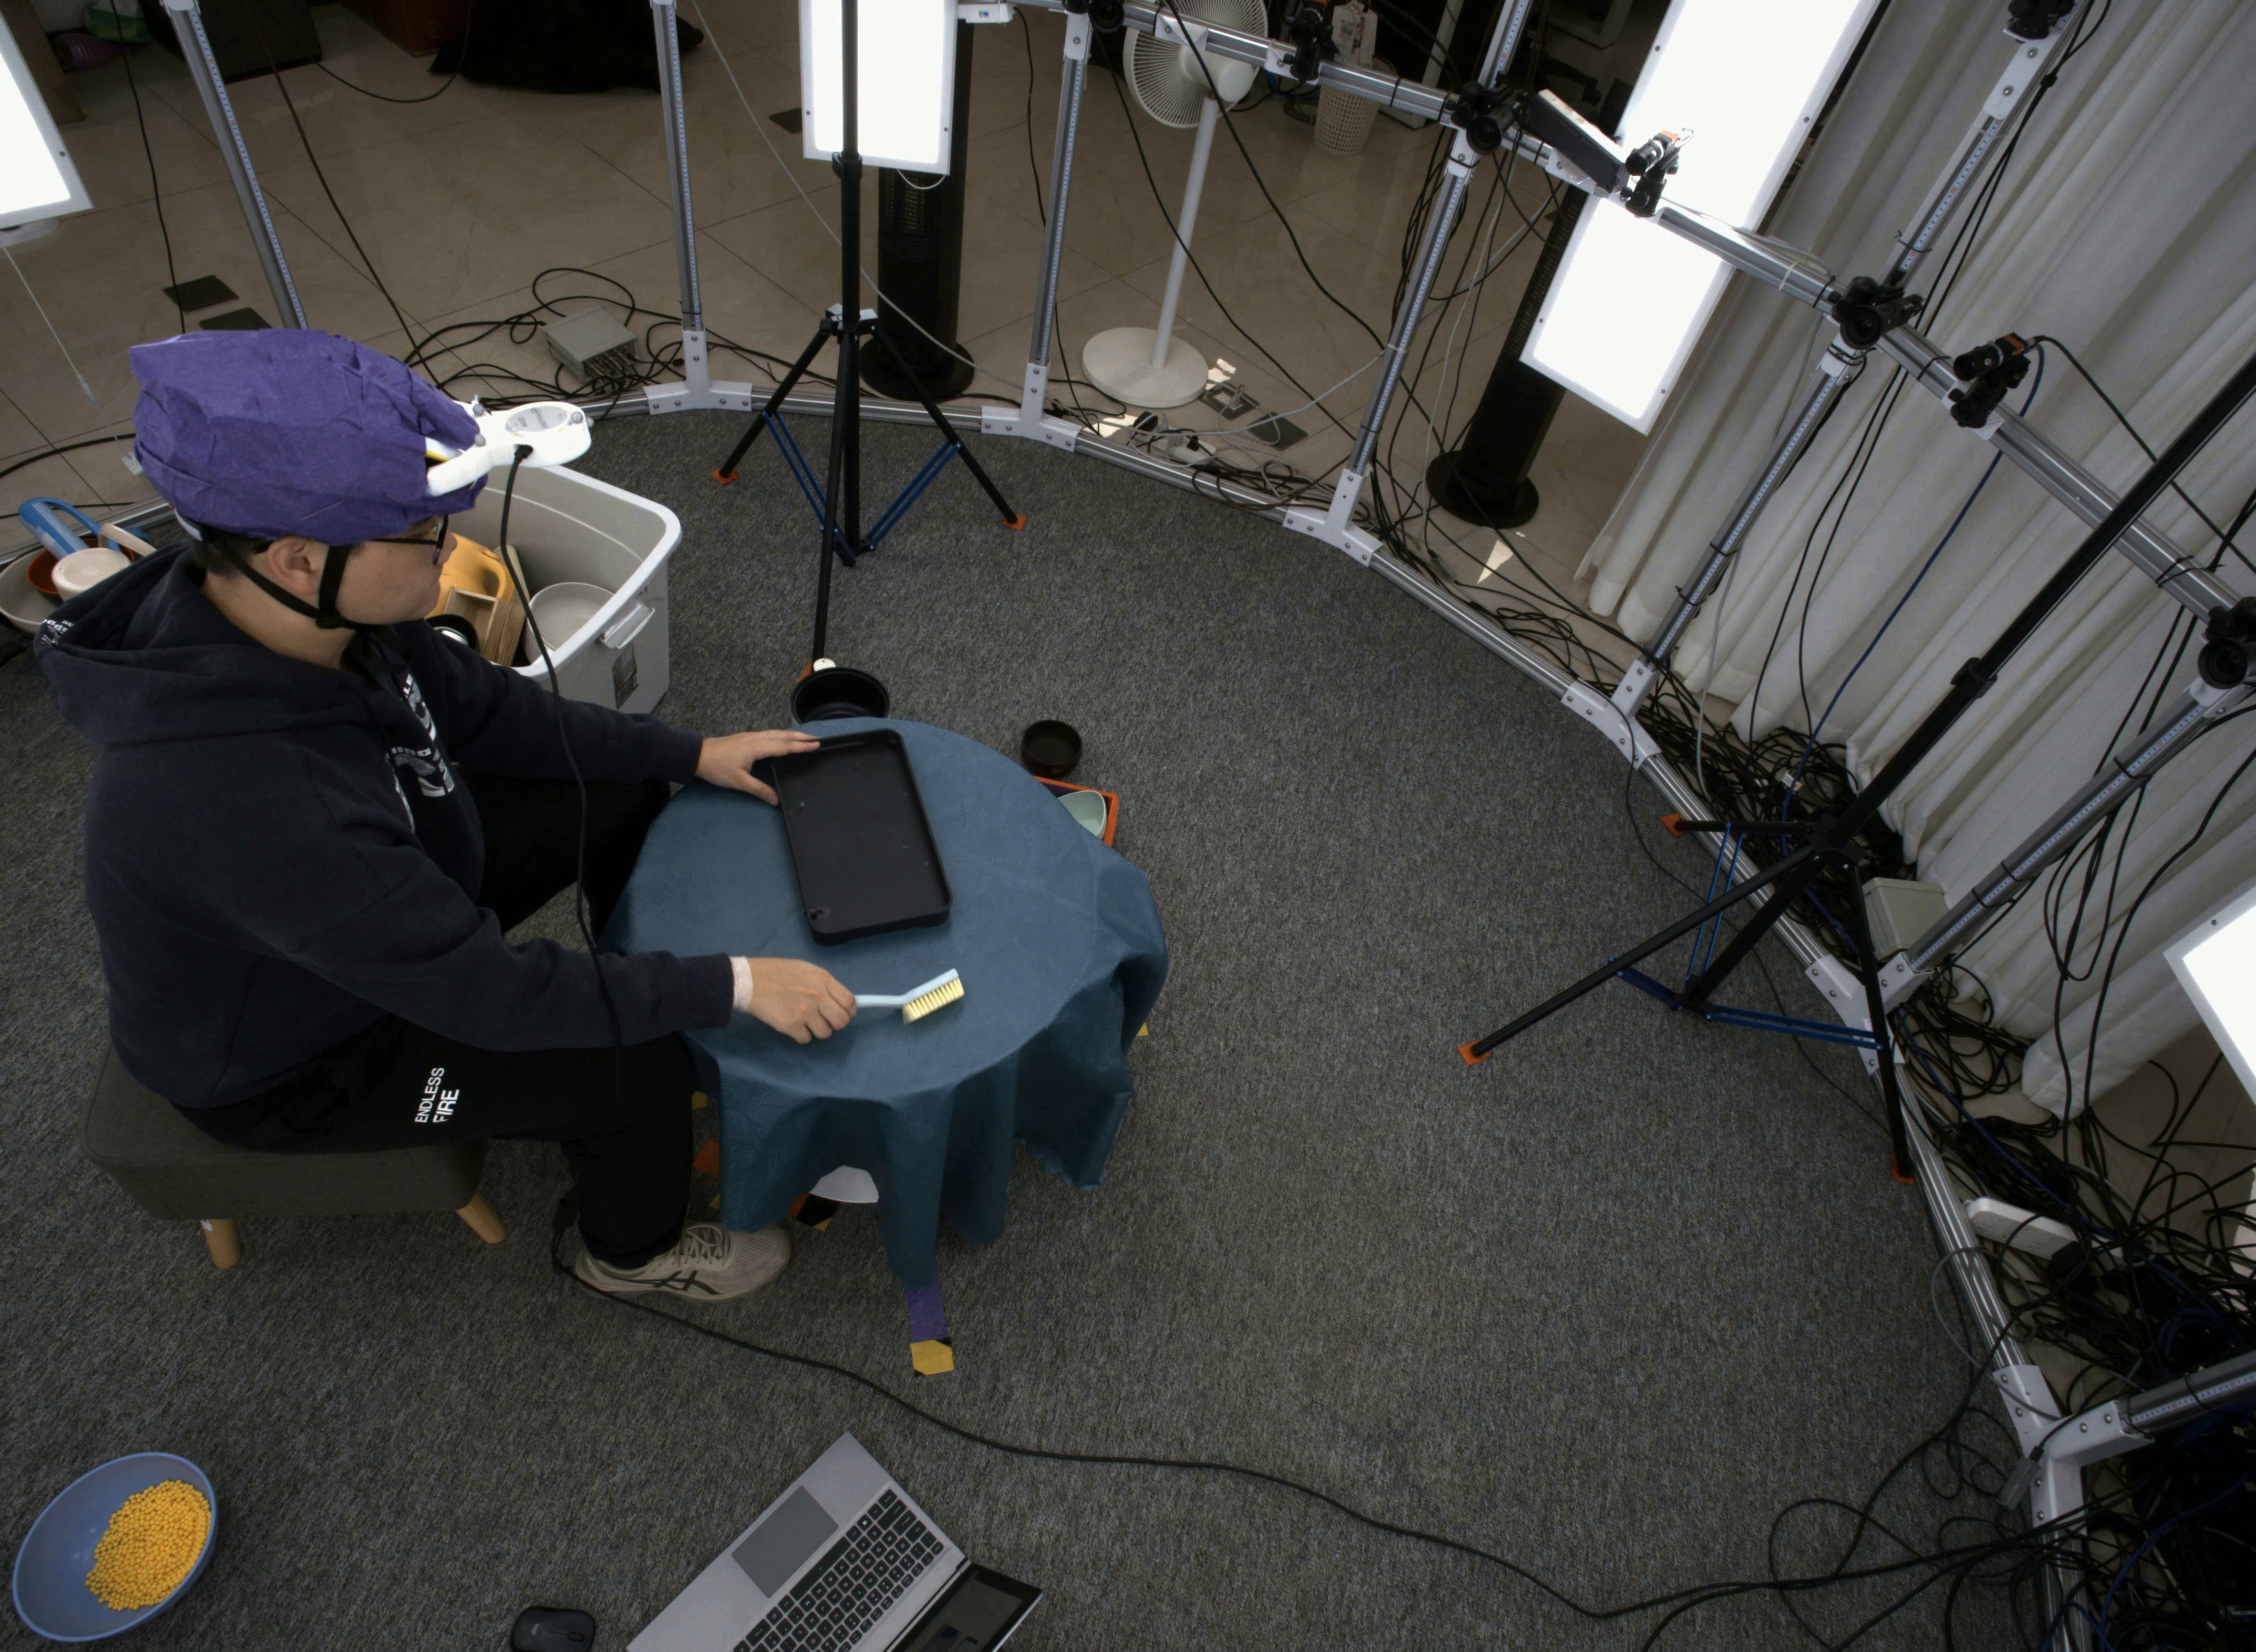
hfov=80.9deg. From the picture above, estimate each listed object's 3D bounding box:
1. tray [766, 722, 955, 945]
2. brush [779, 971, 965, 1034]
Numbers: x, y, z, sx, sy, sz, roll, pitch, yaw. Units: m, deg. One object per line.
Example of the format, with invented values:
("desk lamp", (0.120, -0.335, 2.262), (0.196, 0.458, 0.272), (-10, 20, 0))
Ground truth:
("tray", (-0.356, 0.003, 1.712), (0.185, 0.038, 0.310), (-12, 58, -21))
("brush", (-0.302, 0.219, 1.552), (0.231, 0.037, 0.049), (-11, 78, -28))
